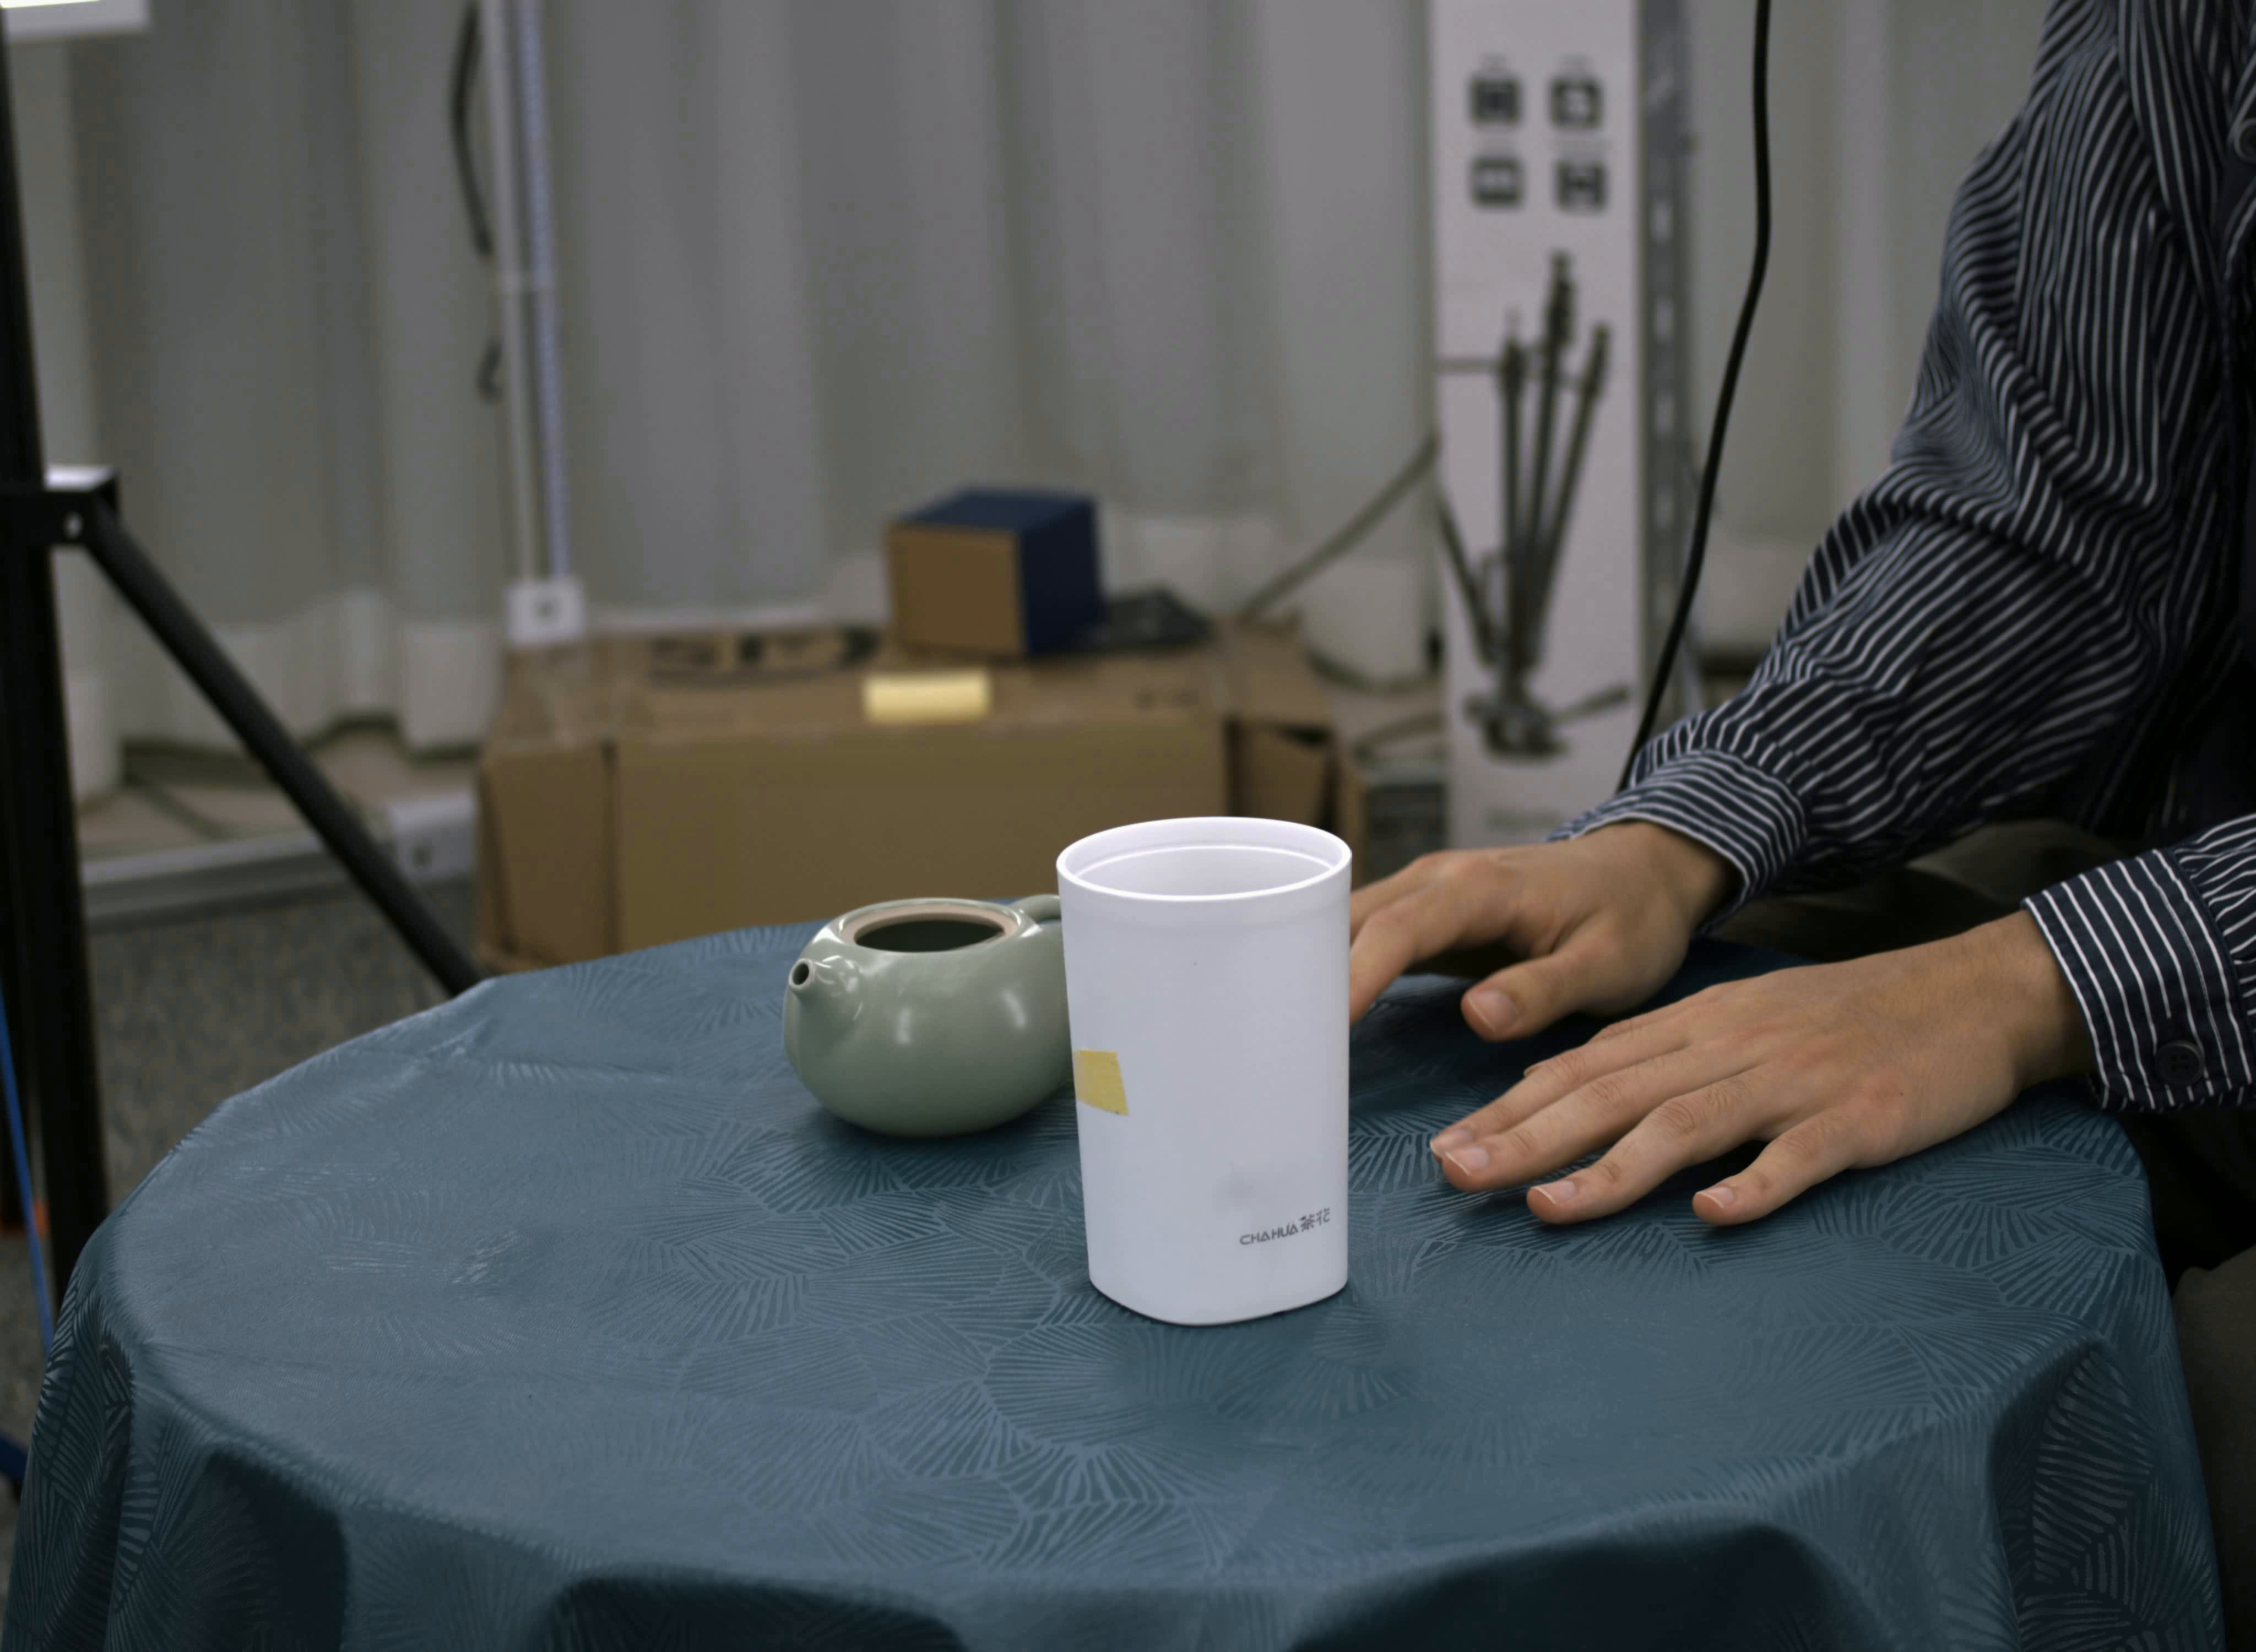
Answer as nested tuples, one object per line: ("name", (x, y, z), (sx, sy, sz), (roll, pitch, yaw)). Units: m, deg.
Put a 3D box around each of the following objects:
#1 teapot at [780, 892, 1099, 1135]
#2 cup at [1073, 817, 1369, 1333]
("teapot", (-0.053, 0.057, 1.643), (0.125, 0.061, 0.093), (-13, 17, -35))
("cup", (0.028, 0.069, 1.459), (0.081, 0.125, 0.082), (-2, 15, -1))
